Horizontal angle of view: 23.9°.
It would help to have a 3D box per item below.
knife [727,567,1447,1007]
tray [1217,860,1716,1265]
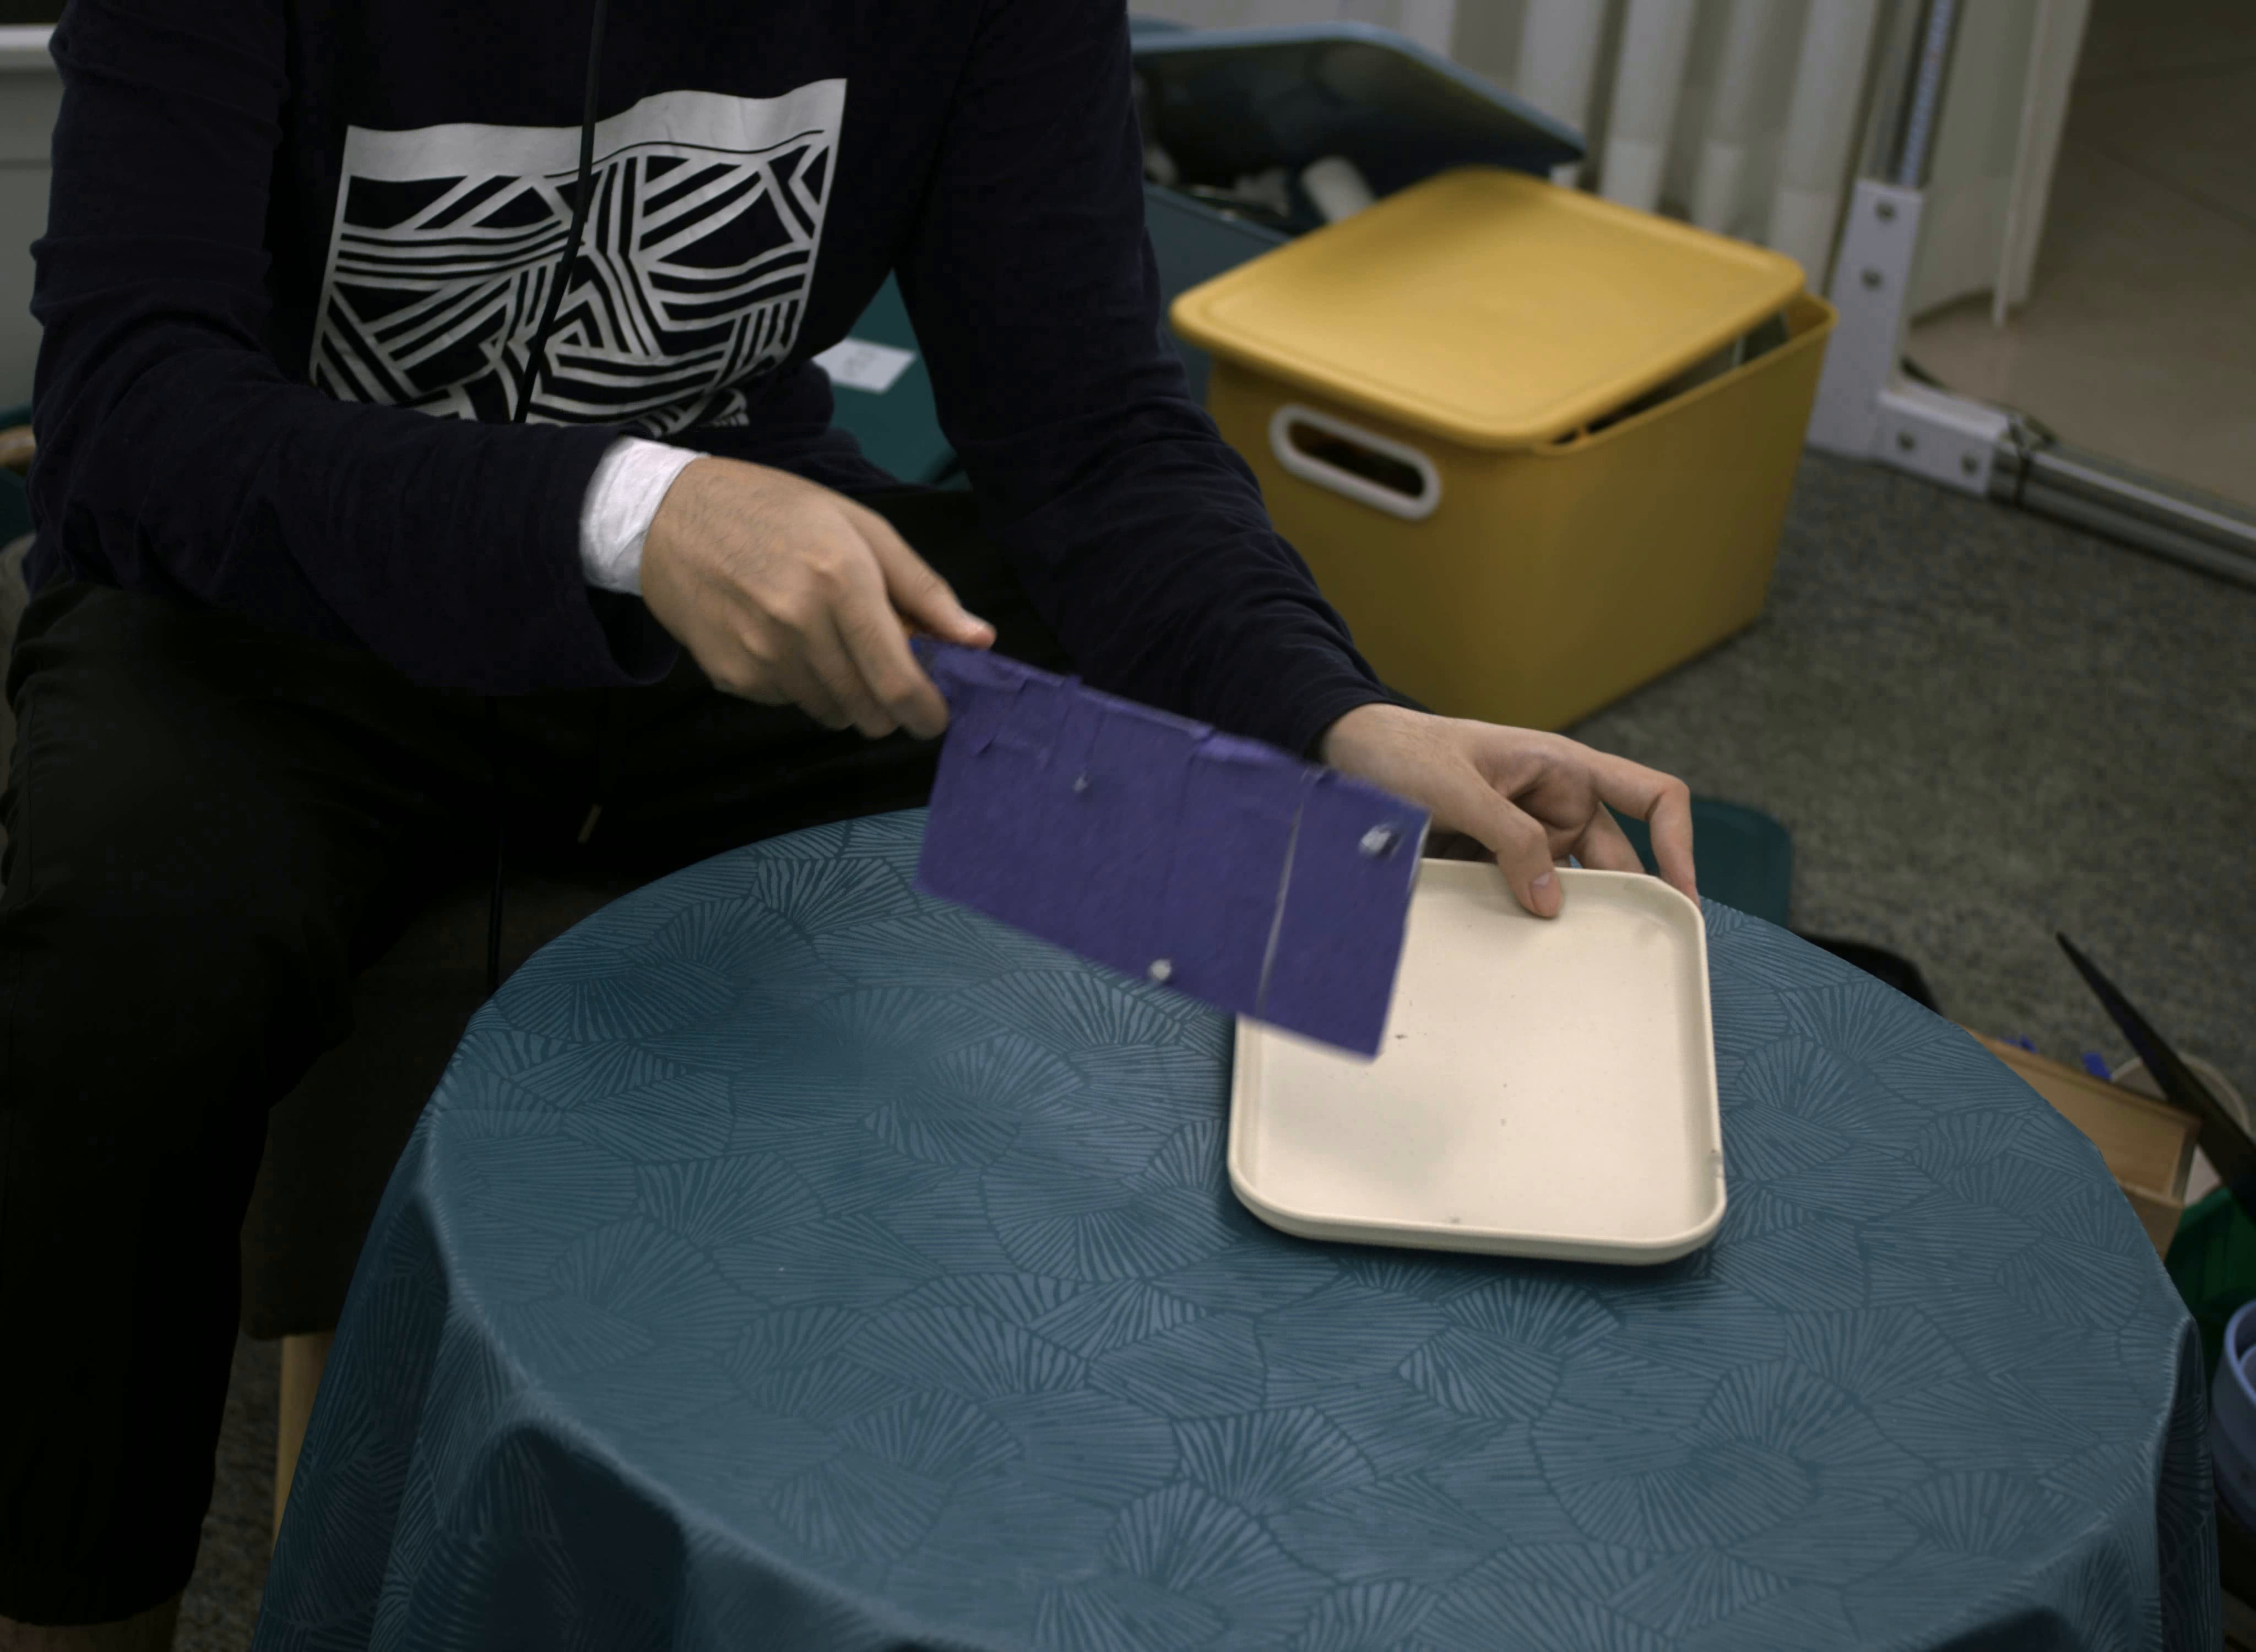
[{"bbox_3d":[-0.024,-0.013,1.849,0.317,0.104,0.032,18,11,38],"label":"knife"},{"bbox_3d":[0.120,0.081,1.879,0.171,0.017,0.241,5,31,3],"label":"tray"}]
